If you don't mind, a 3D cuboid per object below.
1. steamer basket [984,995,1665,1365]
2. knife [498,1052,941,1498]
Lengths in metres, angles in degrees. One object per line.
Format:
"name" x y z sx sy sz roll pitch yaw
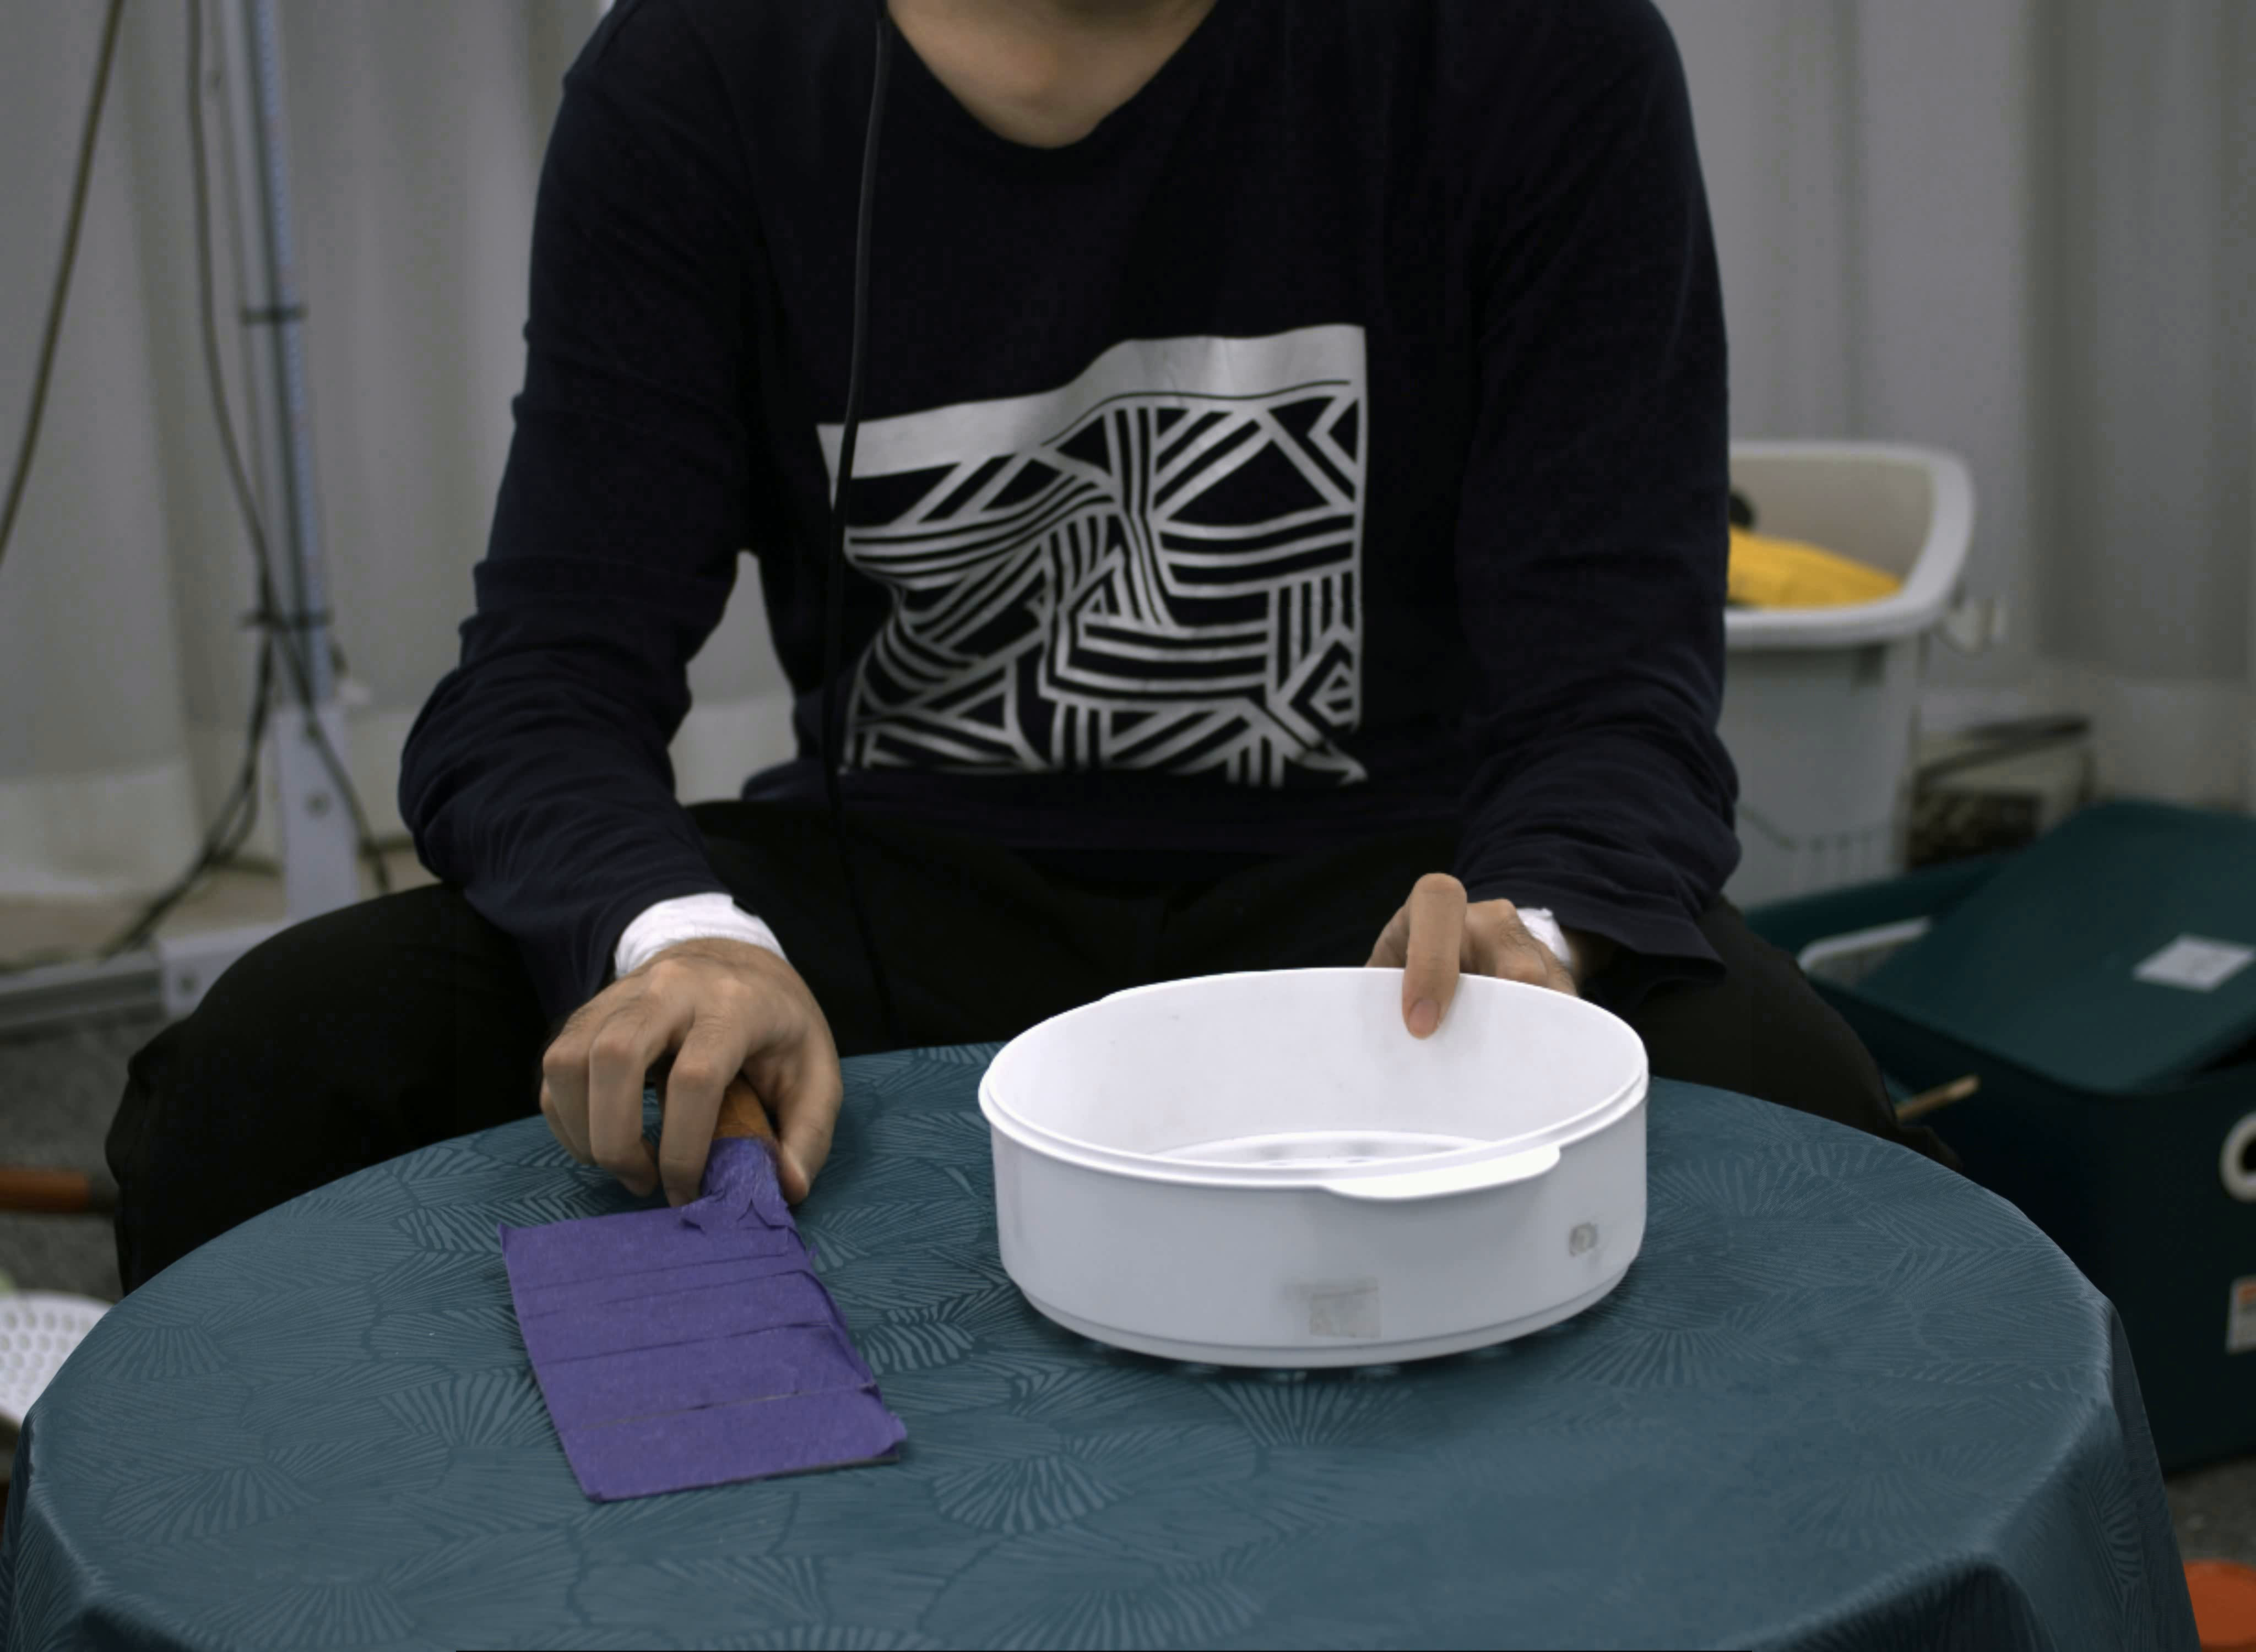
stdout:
"steamer basket" 0.059 0.104 1.621 0.201 0.069 0.232 -6 12 -19
"knife" -0.138 0.130 1.633 0.103 0.032 0.318 -6 16 -13
